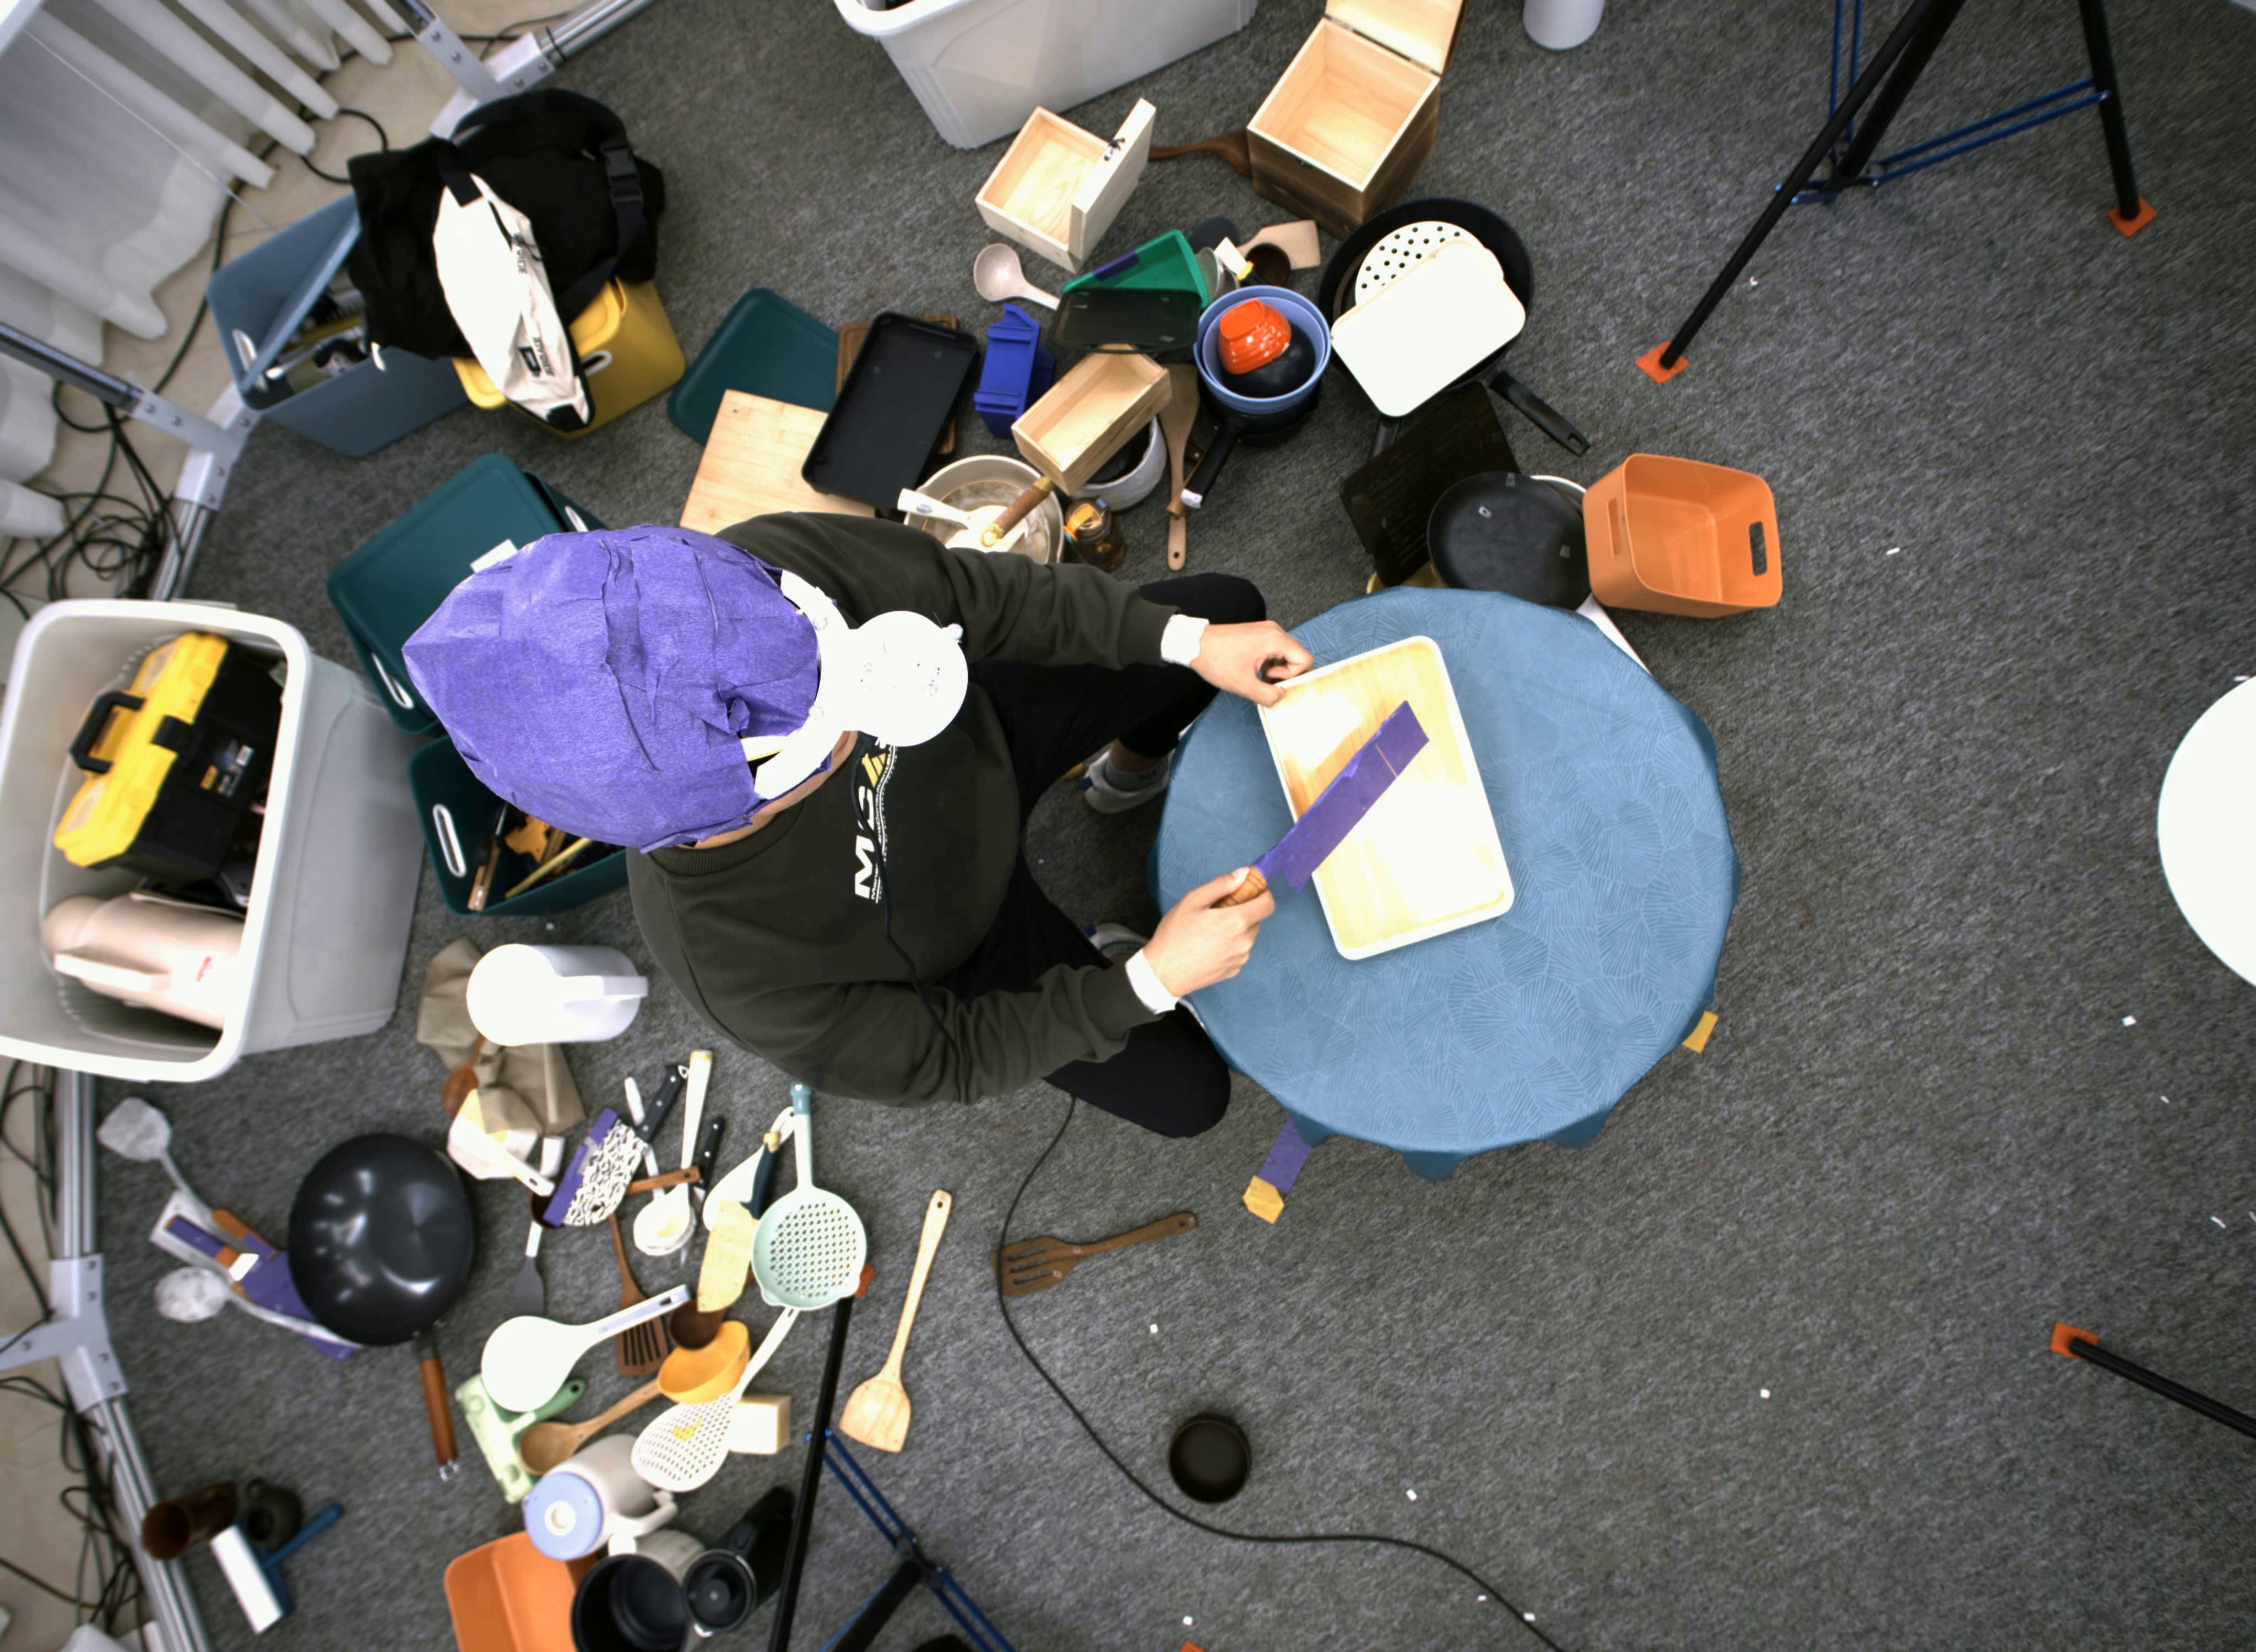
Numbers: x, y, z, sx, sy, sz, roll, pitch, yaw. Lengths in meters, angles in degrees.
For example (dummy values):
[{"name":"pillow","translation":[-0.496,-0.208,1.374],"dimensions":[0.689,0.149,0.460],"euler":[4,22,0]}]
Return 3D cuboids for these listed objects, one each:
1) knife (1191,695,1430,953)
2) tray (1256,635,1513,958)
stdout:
[{"name":"knife","translation":[0.189,0.010,1.358],"dimensions":[0.316,0.105,0.032],"euler":[-47,53,2]},{"name":"tray","translation":[0.263,-0.029,1.409],"dimensions":[0.192,0.027,0.302],"euler":[-18,101,9]}]
